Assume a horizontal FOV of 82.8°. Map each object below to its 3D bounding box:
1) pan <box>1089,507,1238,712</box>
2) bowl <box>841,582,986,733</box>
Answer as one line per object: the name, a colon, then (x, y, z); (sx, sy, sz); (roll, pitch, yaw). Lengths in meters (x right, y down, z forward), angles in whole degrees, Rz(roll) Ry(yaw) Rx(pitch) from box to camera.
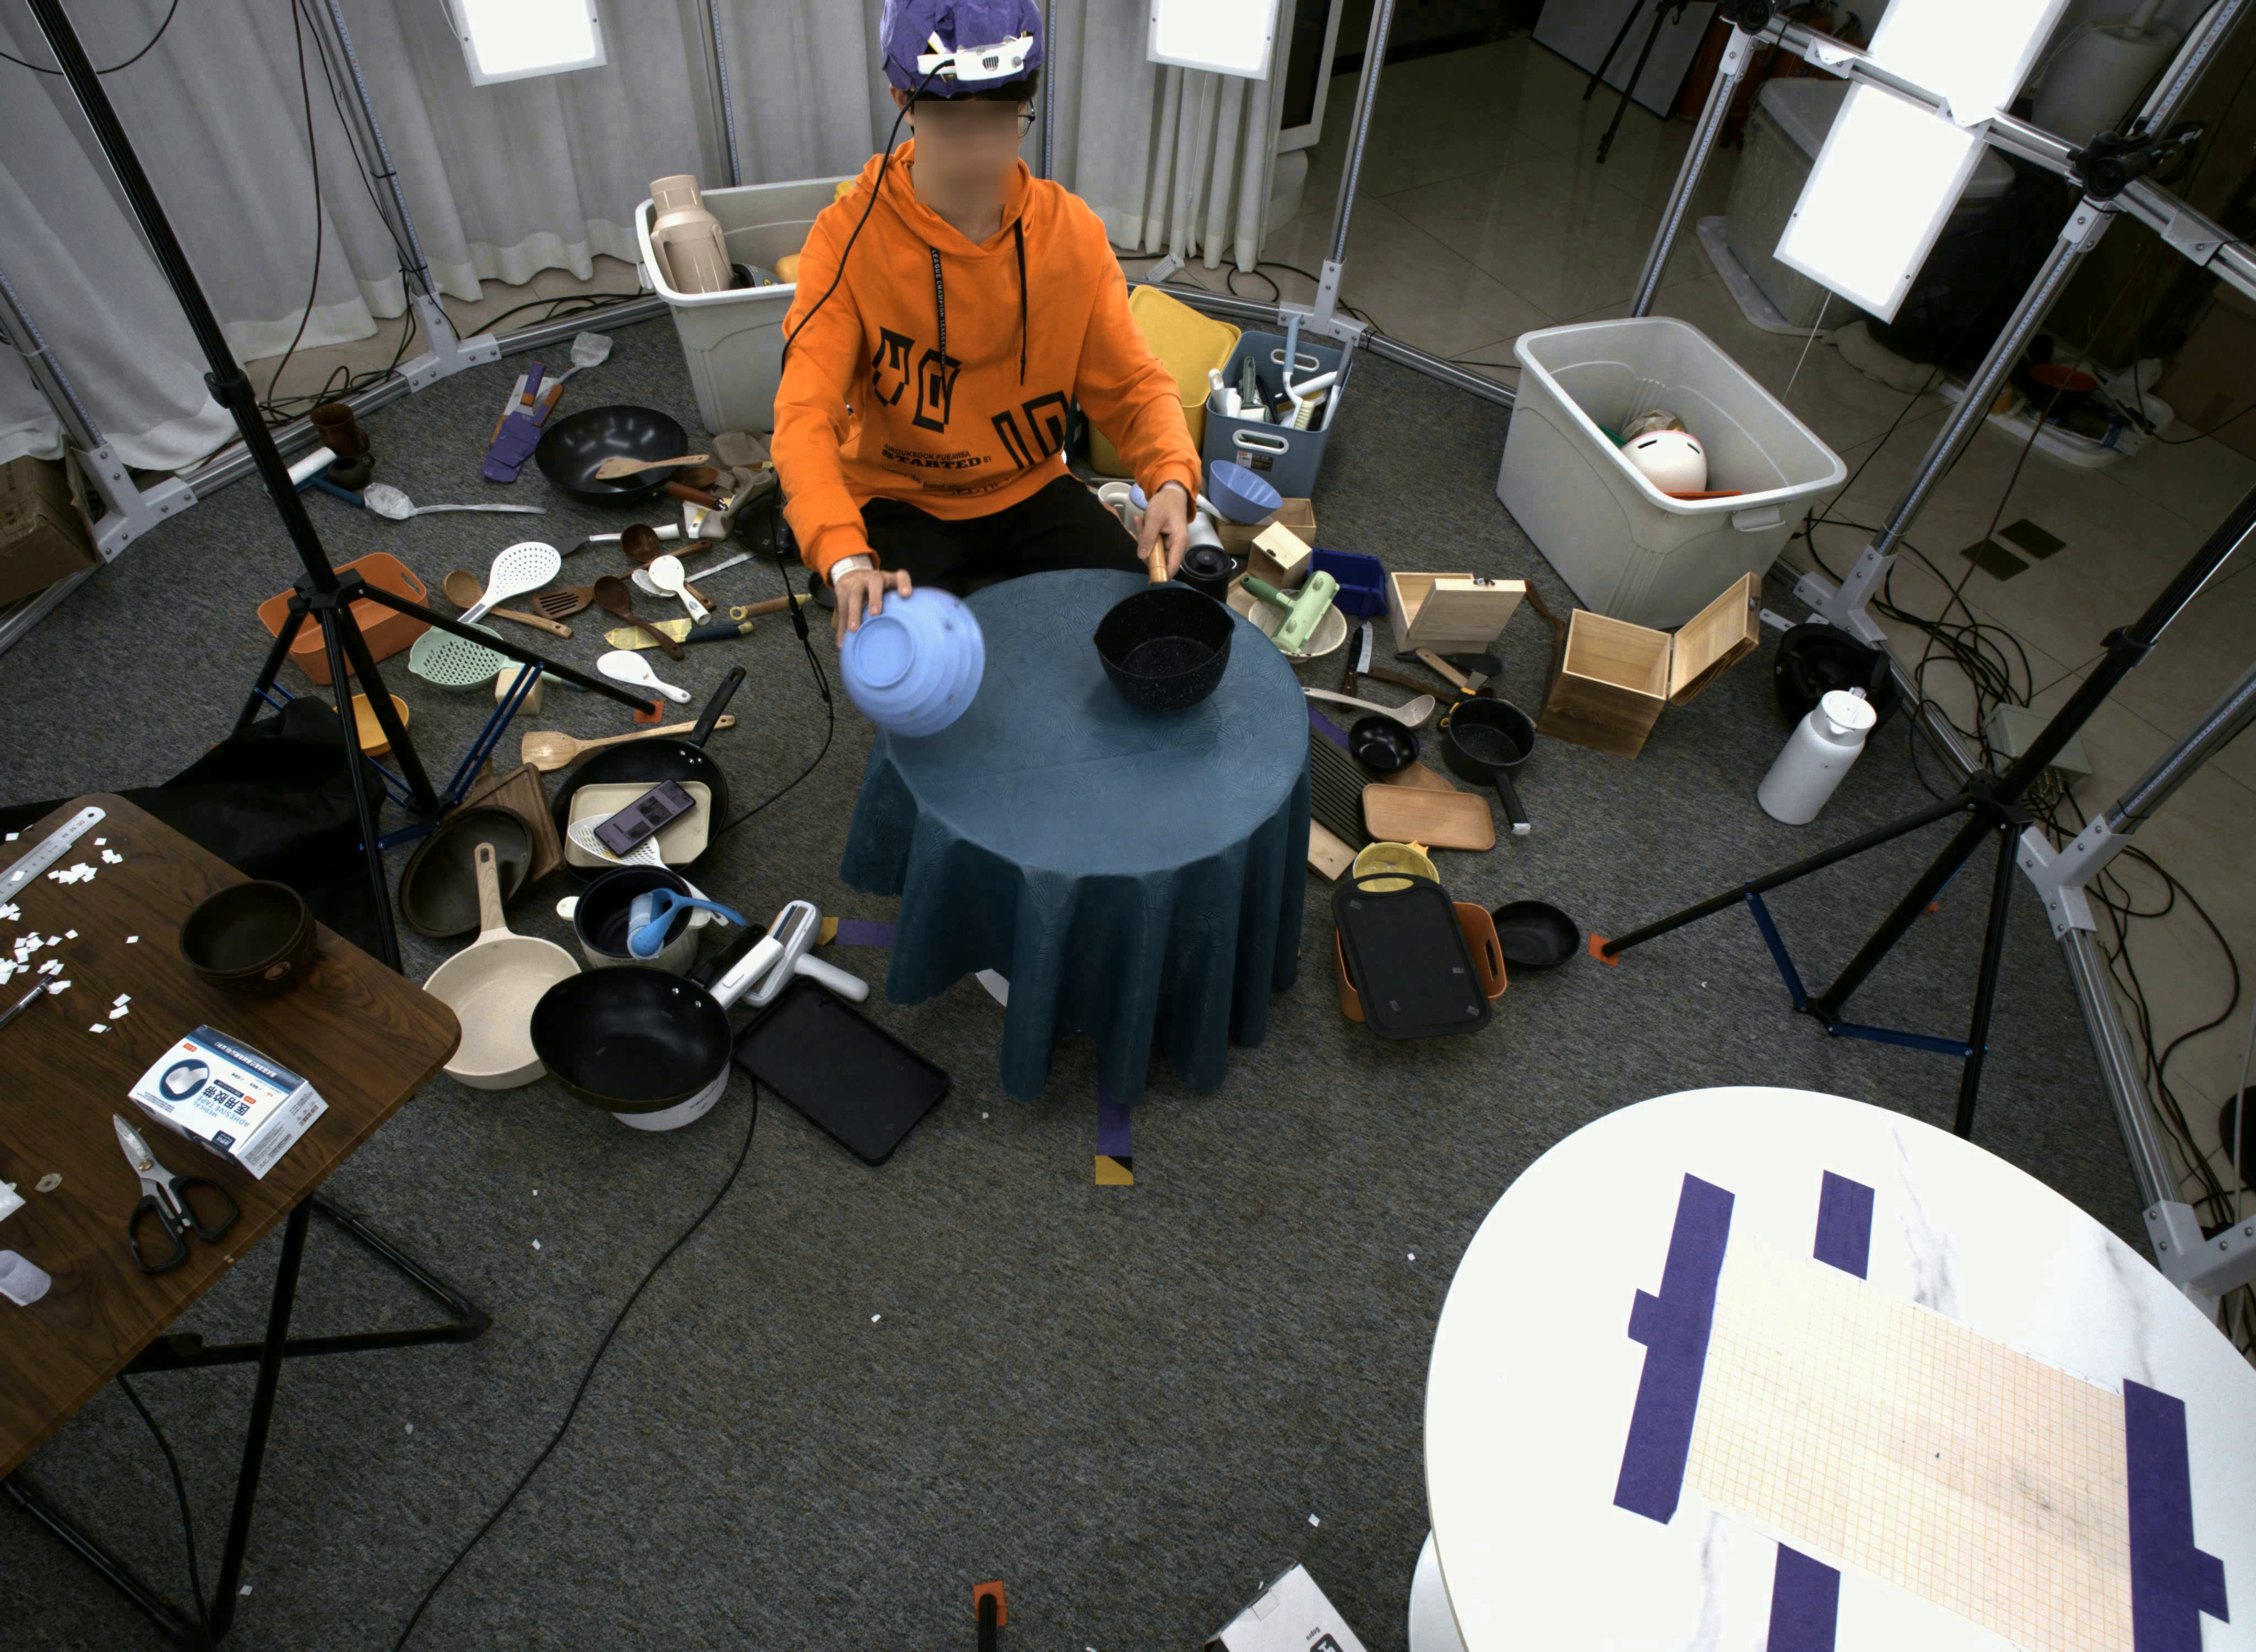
pan: (0.048, -0.311, 1.845); (0.207, 0.105, 0.351); (-8, 50, 5)
bowl: (-0.289, -0.220, 1.640); (0.198, 0.195, 0.095); (31, 9, 21)
